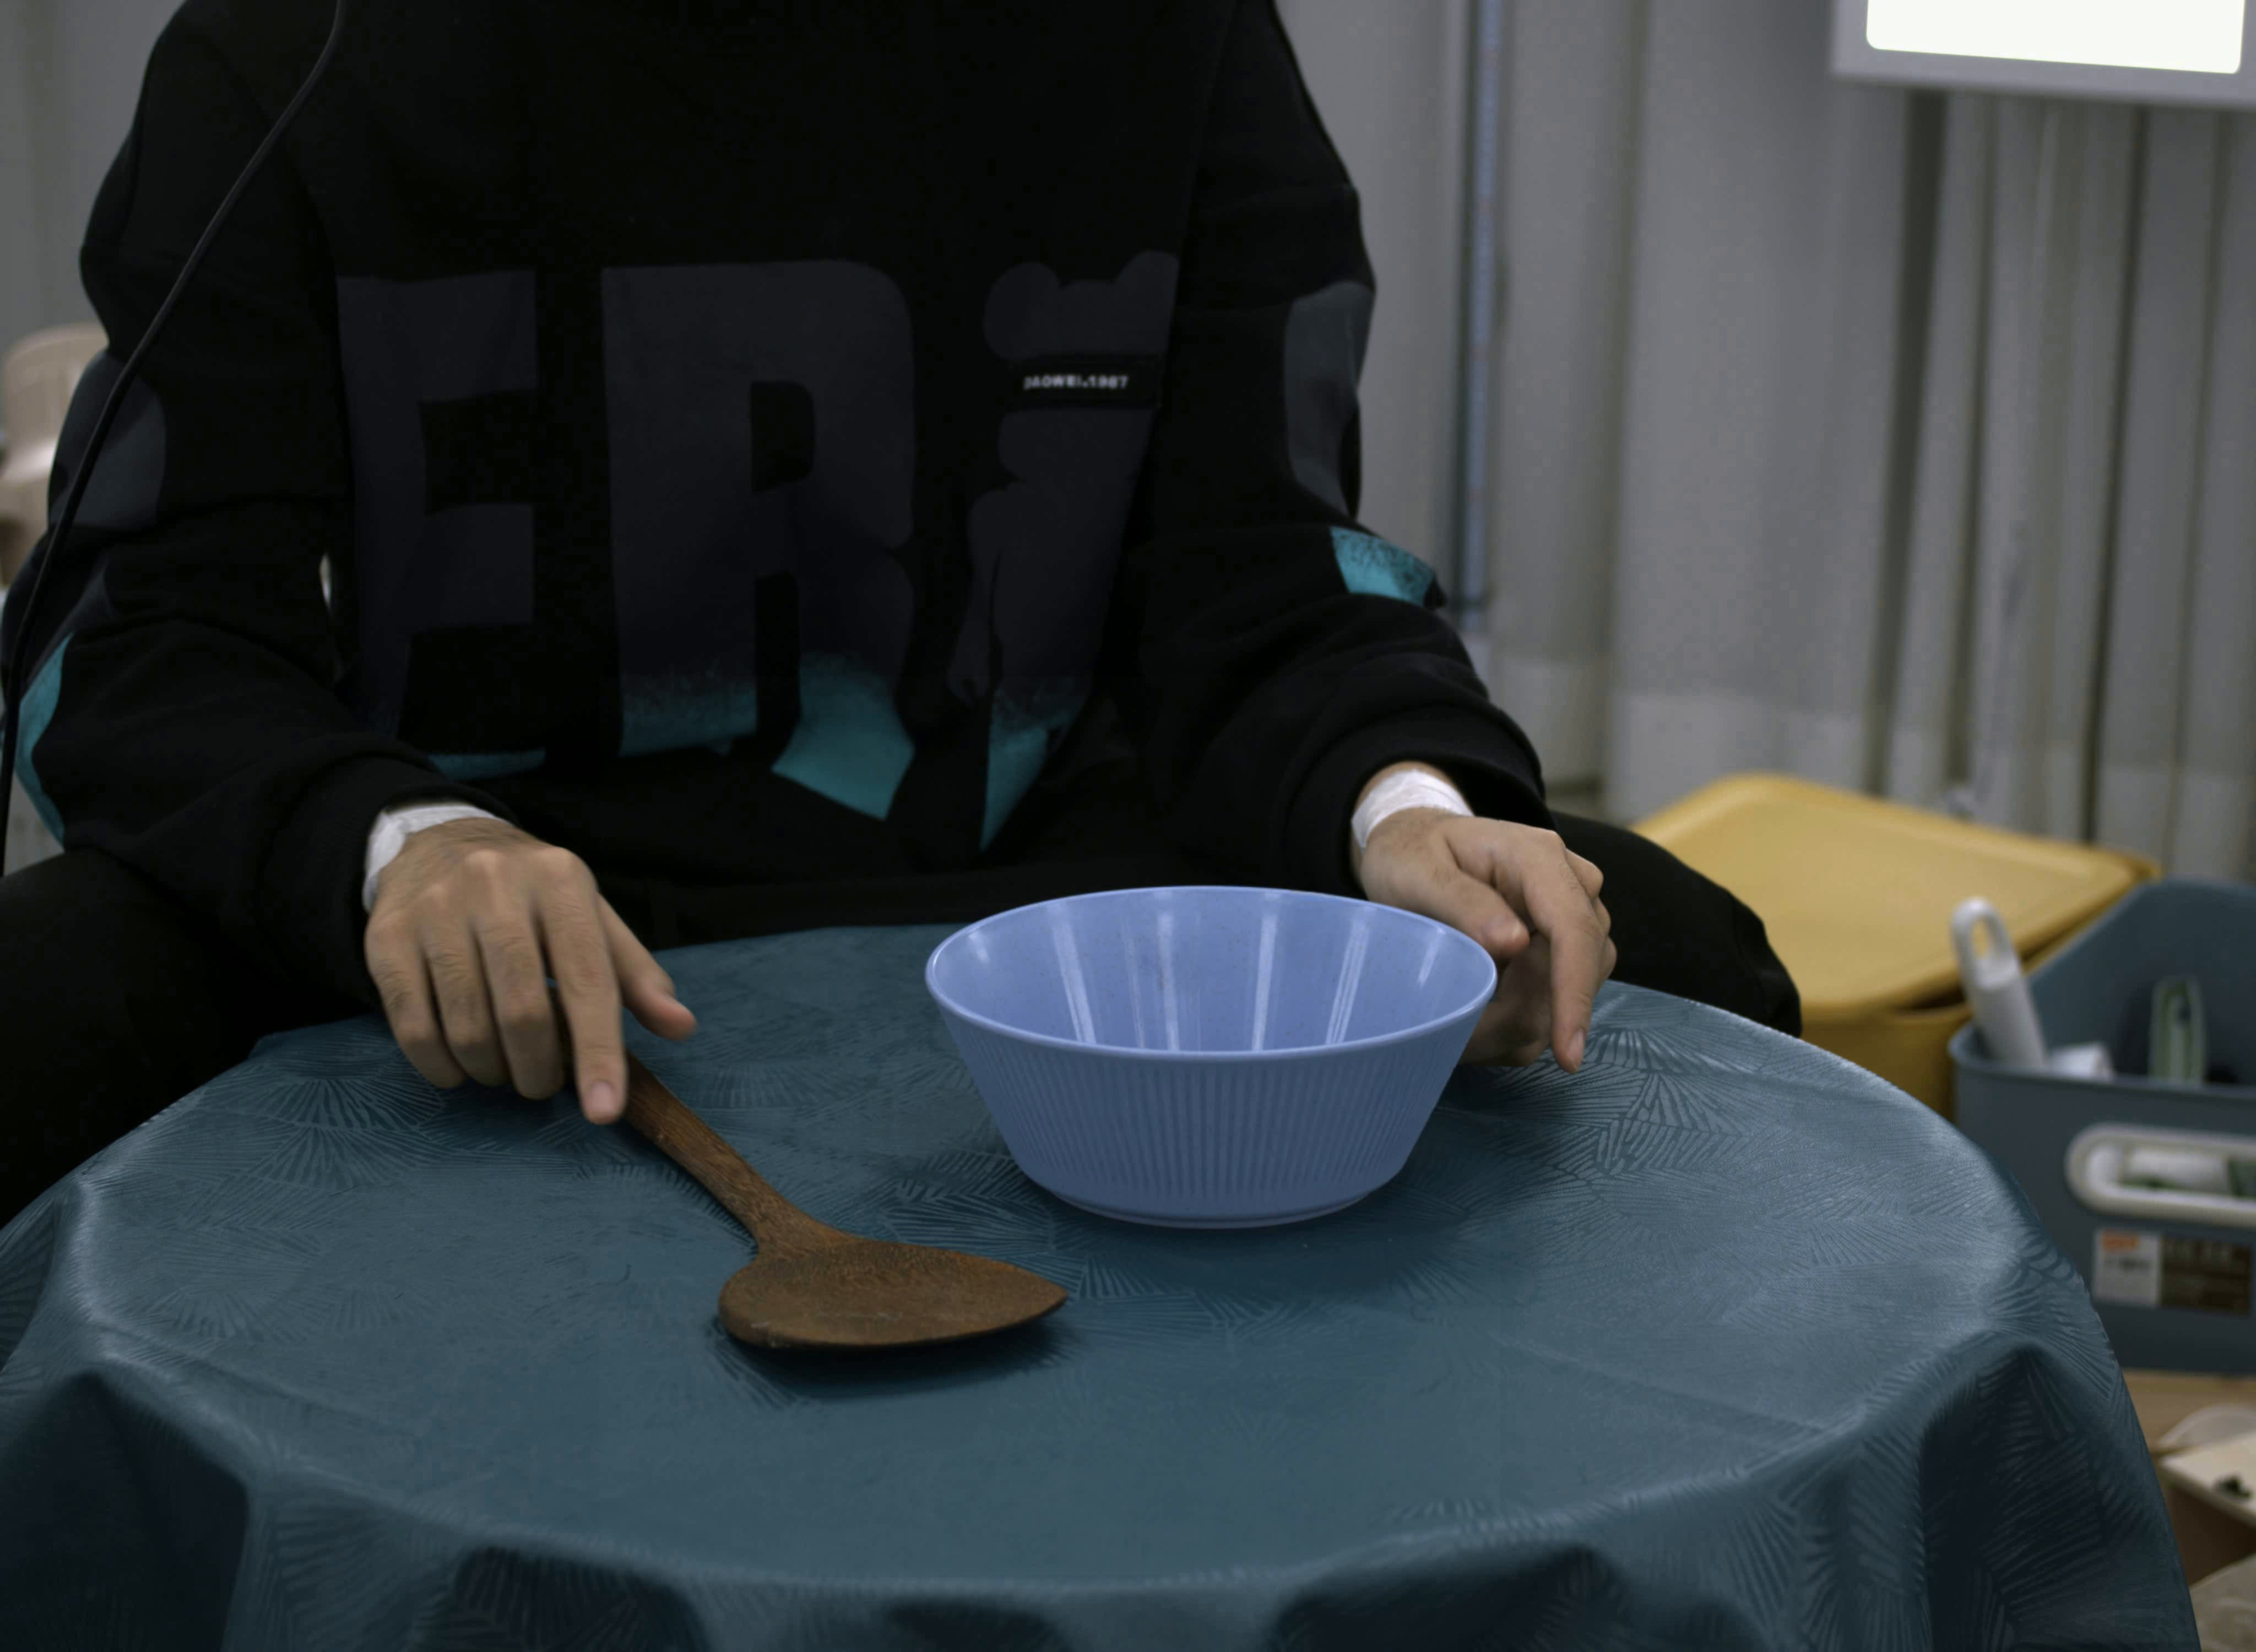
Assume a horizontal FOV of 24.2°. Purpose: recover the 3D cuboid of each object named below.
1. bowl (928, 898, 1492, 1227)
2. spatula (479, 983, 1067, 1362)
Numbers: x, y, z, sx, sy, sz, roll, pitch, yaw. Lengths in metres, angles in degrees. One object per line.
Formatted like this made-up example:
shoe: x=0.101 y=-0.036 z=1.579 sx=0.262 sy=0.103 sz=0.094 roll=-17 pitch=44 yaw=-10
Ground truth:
bowl: x=0.025 y=0.075 z=1.632 sx=0.175 sy=0.071 sz=0.175 roll=1 pitch=15 yaw=0
spatula: x=-0.133 y=0.101 z=1.636 sx=0.096 sy=0.016 sz=0.381 roll=-6 pitch=17 yaw=-24
